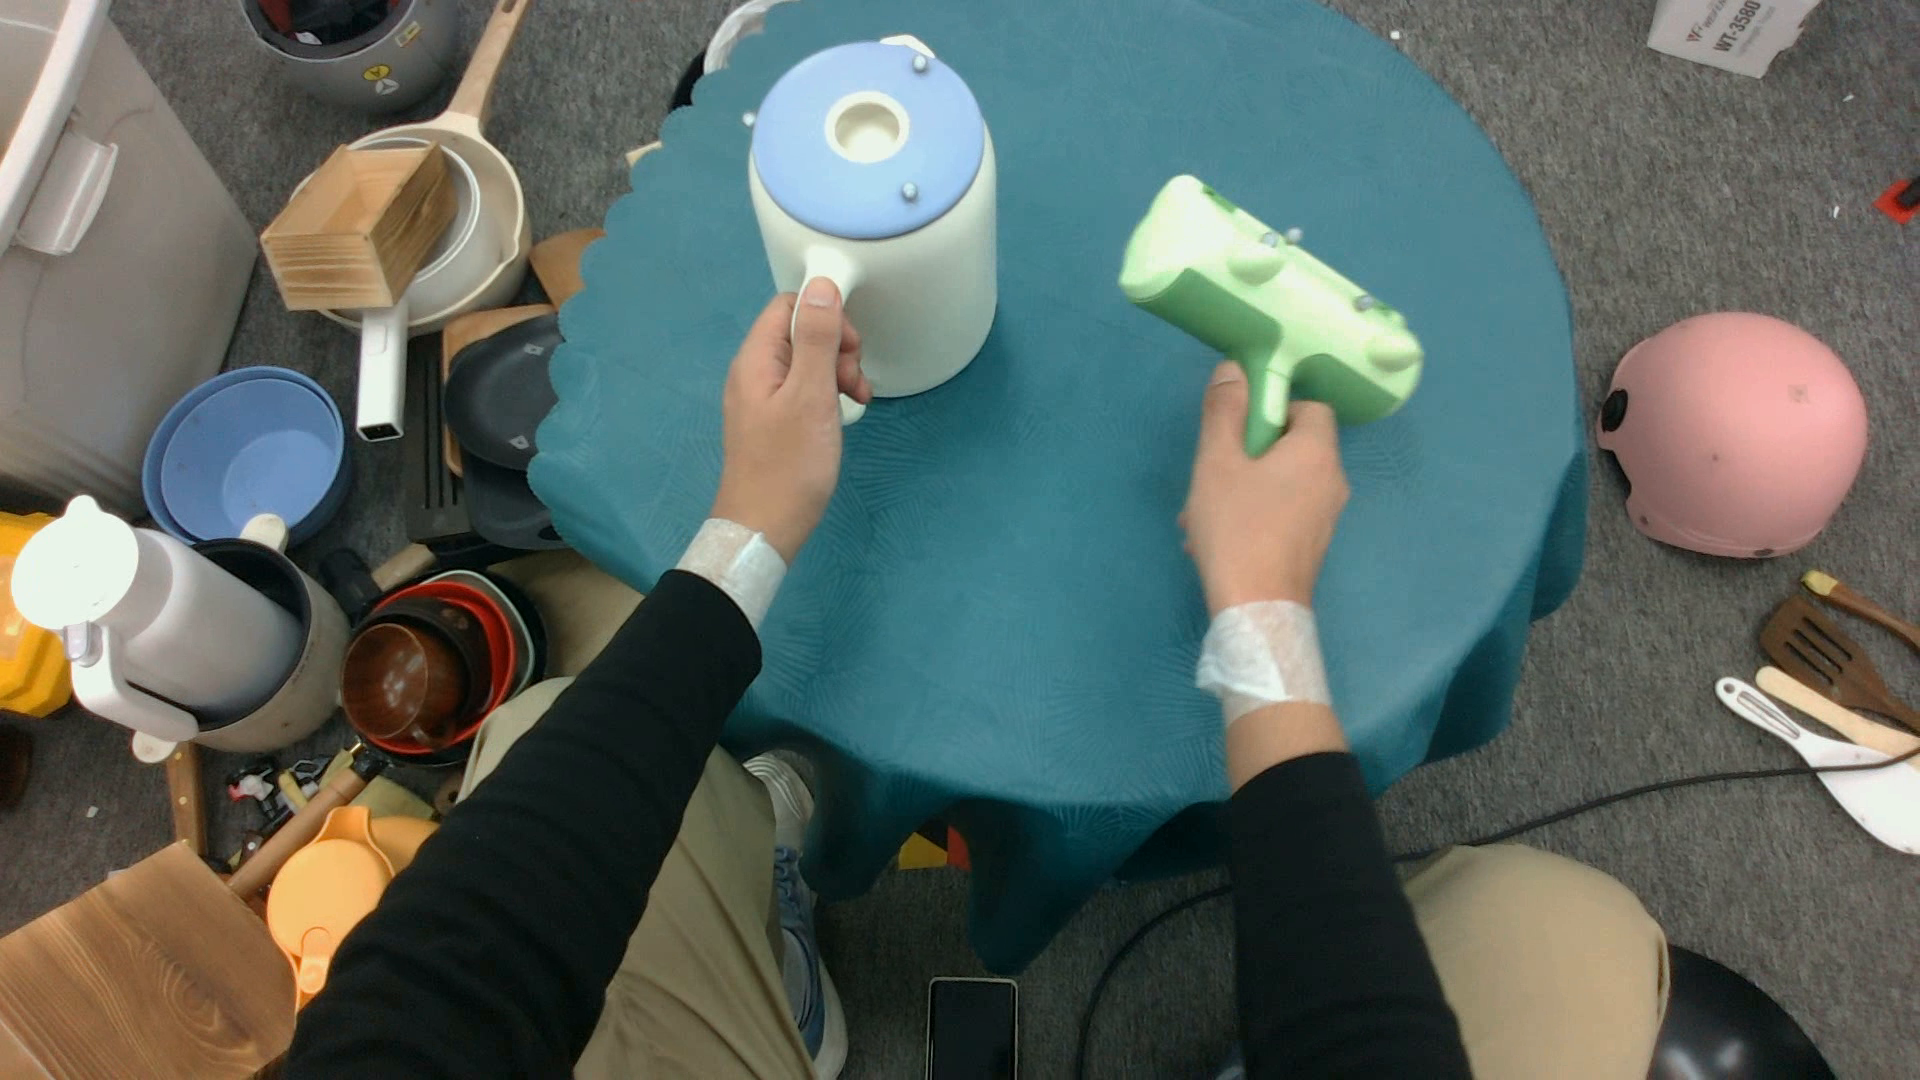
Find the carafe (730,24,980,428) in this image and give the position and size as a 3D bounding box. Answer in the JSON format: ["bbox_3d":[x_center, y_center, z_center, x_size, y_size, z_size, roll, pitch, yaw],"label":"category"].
[{"bbox_3d":[-0.061,-0.158,0.767,0.132,0.182,0.191,13,72,7],"label":"carafe"}]

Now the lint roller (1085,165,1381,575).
[{"bbox_3d":[0.148,-0.074,0.710,0.199,0.082,0.184,21,67,-38],"label":"lint roller"}]
